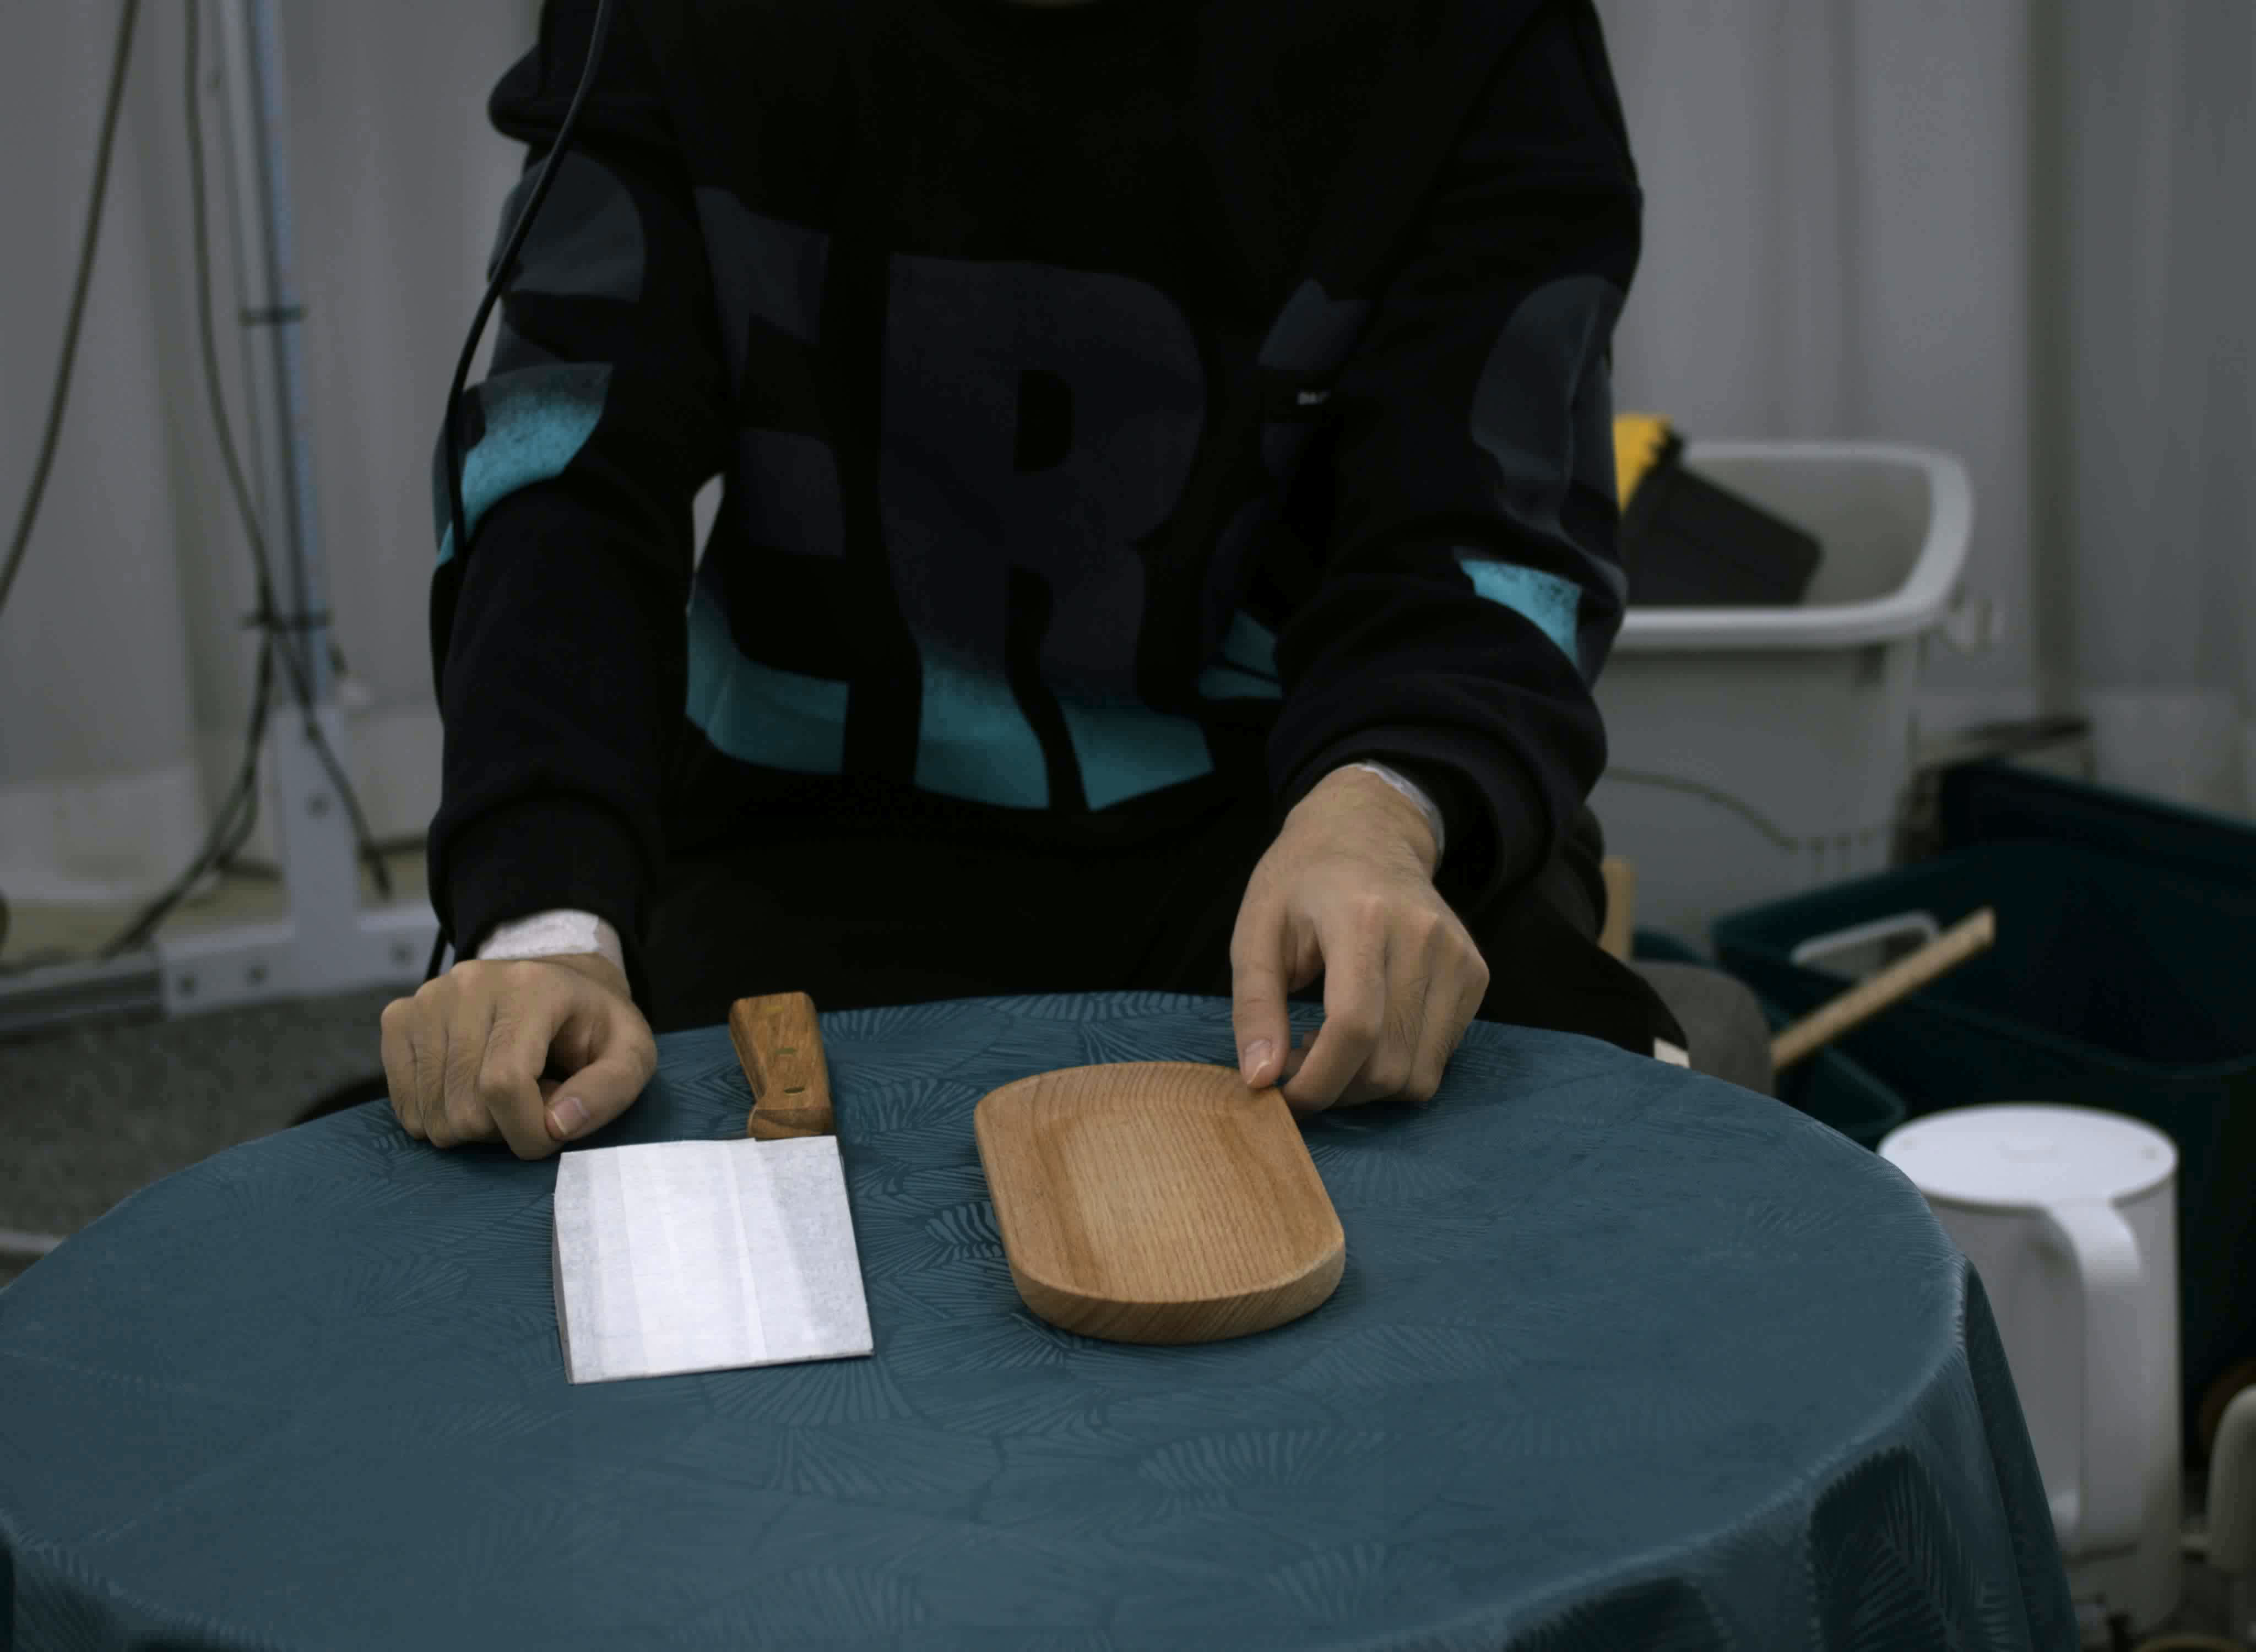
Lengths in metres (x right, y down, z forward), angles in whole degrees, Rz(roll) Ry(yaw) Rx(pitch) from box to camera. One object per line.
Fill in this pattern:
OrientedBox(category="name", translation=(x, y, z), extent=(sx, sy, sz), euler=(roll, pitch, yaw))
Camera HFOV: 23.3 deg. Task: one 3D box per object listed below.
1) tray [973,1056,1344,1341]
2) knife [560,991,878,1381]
OrientedBox(category="tray", translation=(0.007, 0.113, 1.688), extent=(0.101, 0.020, 0.233), euler=(-3, 14, -5))
OrientedBox(category="knife", translation=(-0.132, 0.112, 1.722), extent=(0.092, 0.021, 0.308), euler=(-6, 17, -5))
